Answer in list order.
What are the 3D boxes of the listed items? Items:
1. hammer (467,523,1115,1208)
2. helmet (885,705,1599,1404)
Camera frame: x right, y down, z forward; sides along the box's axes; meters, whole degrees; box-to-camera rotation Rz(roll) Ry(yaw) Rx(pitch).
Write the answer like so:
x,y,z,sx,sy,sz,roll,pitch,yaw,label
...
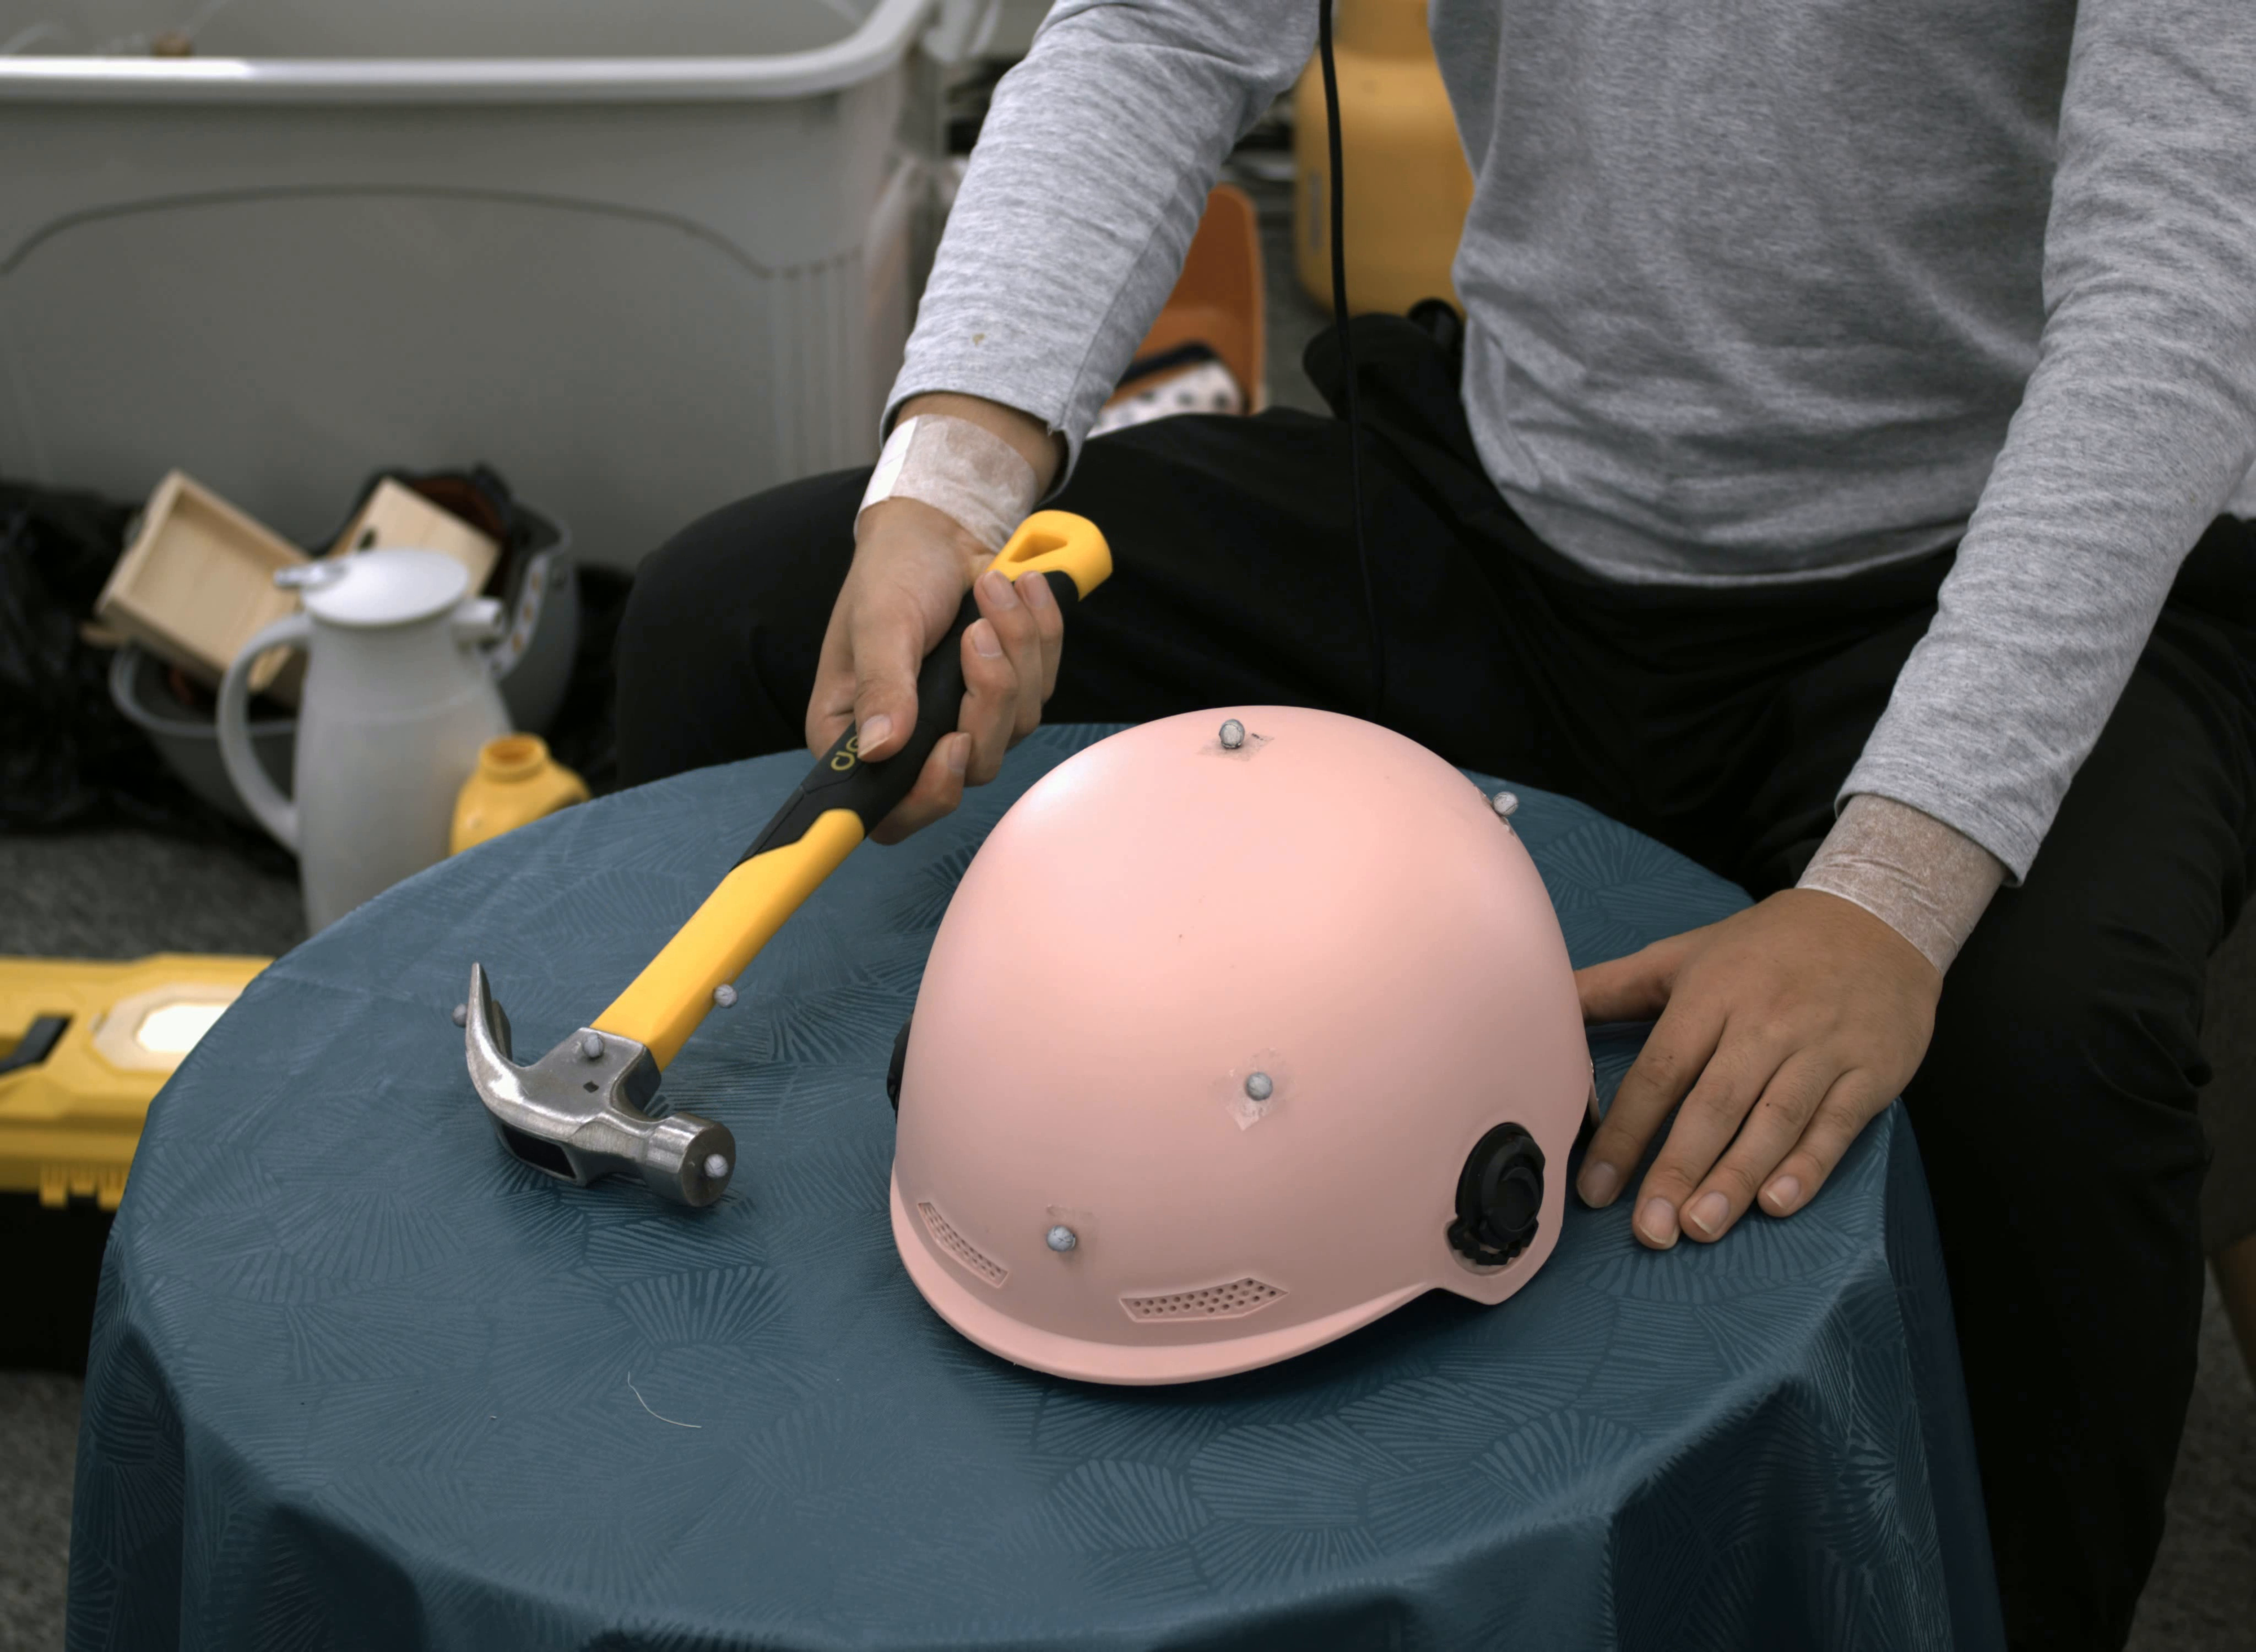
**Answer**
x,y,z,sx,sy,sz,roll,pitch,yaw,label
-0.108,0.002,1.981,0.130,0.032,0.344,13,46,33,hammer
0.032,0.055,1.828,0.232,0.157,0.270,11,34,25,helmet
